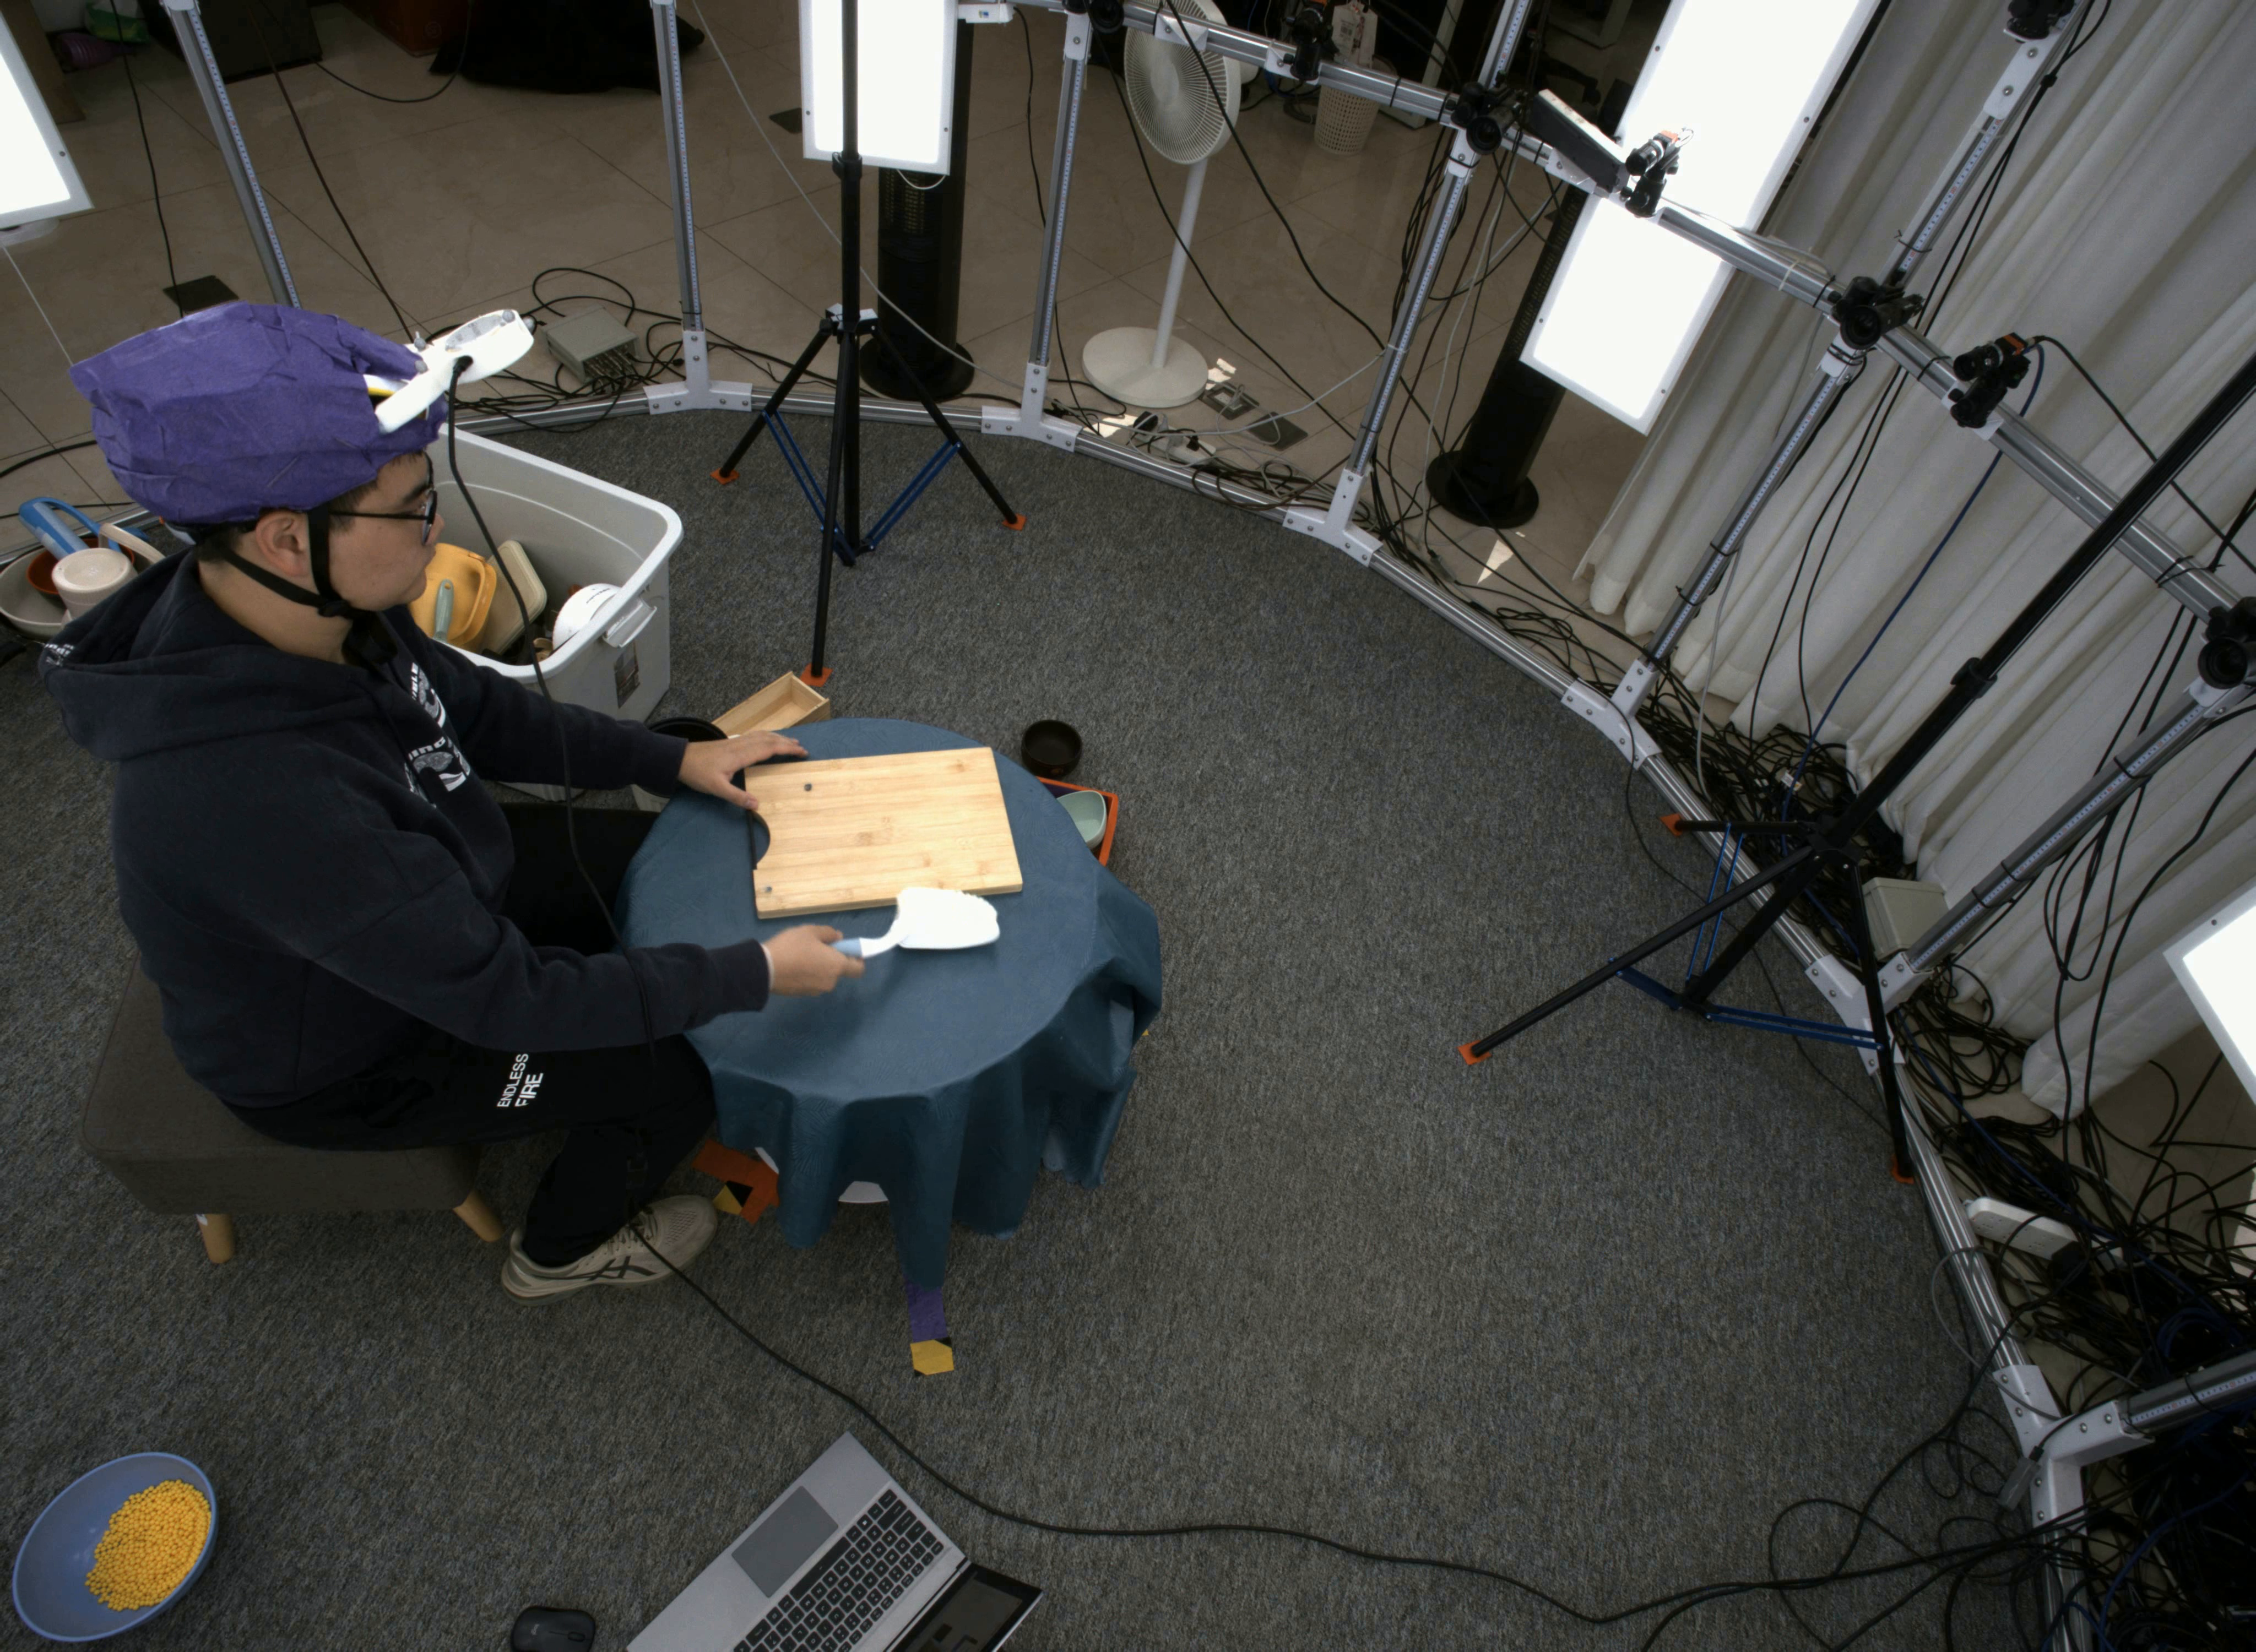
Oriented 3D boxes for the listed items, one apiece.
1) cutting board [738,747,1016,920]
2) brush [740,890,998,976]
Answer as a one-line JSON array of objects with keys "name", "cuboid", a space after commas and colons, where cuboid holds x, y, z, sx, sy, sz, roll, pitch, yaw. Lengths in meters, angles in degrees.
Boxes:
[{"name": "cutting board", "cuboid": [-0.334, 0.003, 1.730, 0.350, 0.024, 0.244, -6, 55, -18]}, {"name": "brush", "cuboid": [-0.312, 0.121, 1.577, 0.330, 0.082, 0.084, -3, 95, -31]}]
